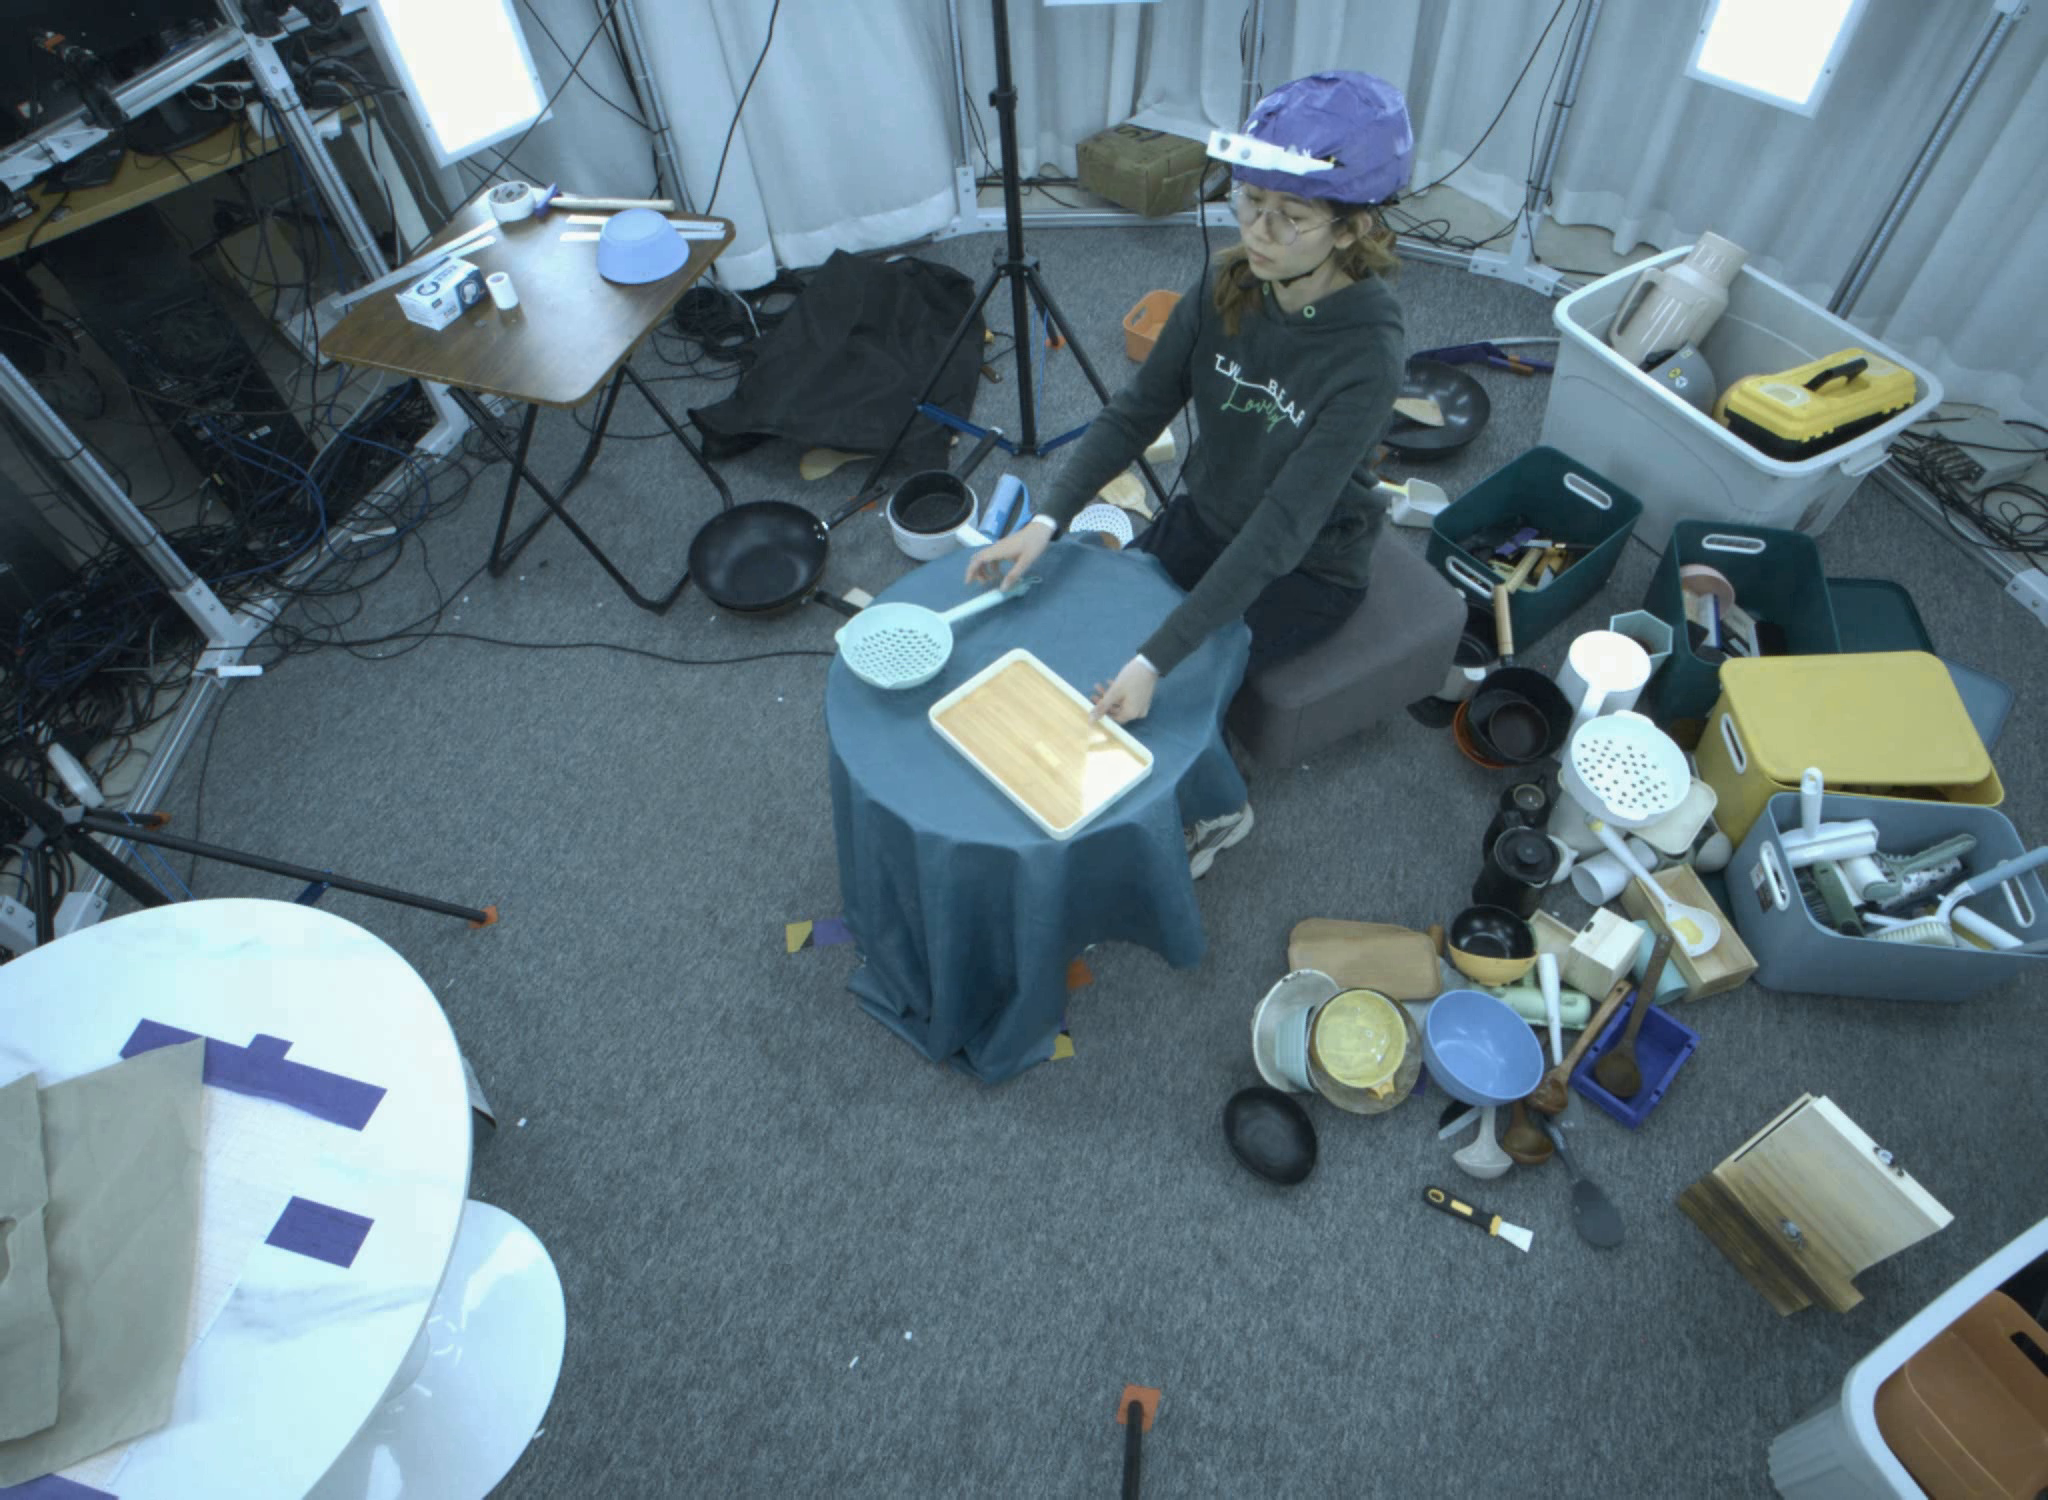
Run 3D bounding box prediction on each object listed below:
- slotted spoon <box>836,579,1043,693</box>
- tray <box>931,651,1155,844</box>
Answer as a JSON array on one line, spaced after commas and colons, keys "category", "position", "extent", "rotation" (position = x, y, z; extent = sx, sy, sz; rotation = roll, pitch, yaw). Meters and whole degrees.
[{"category": "slotted spoon", "position": [-0.116, -0.196, 1.899], "extent": [0.361, 0.076, 0.166], "rotation": [-34, 61, -20]}, {"category": "tray", "position": [0.025, -0.010, 1.788], "extent": [0.193, 0.028, 0.295], "rotation": [-37, 62, -22]}]
